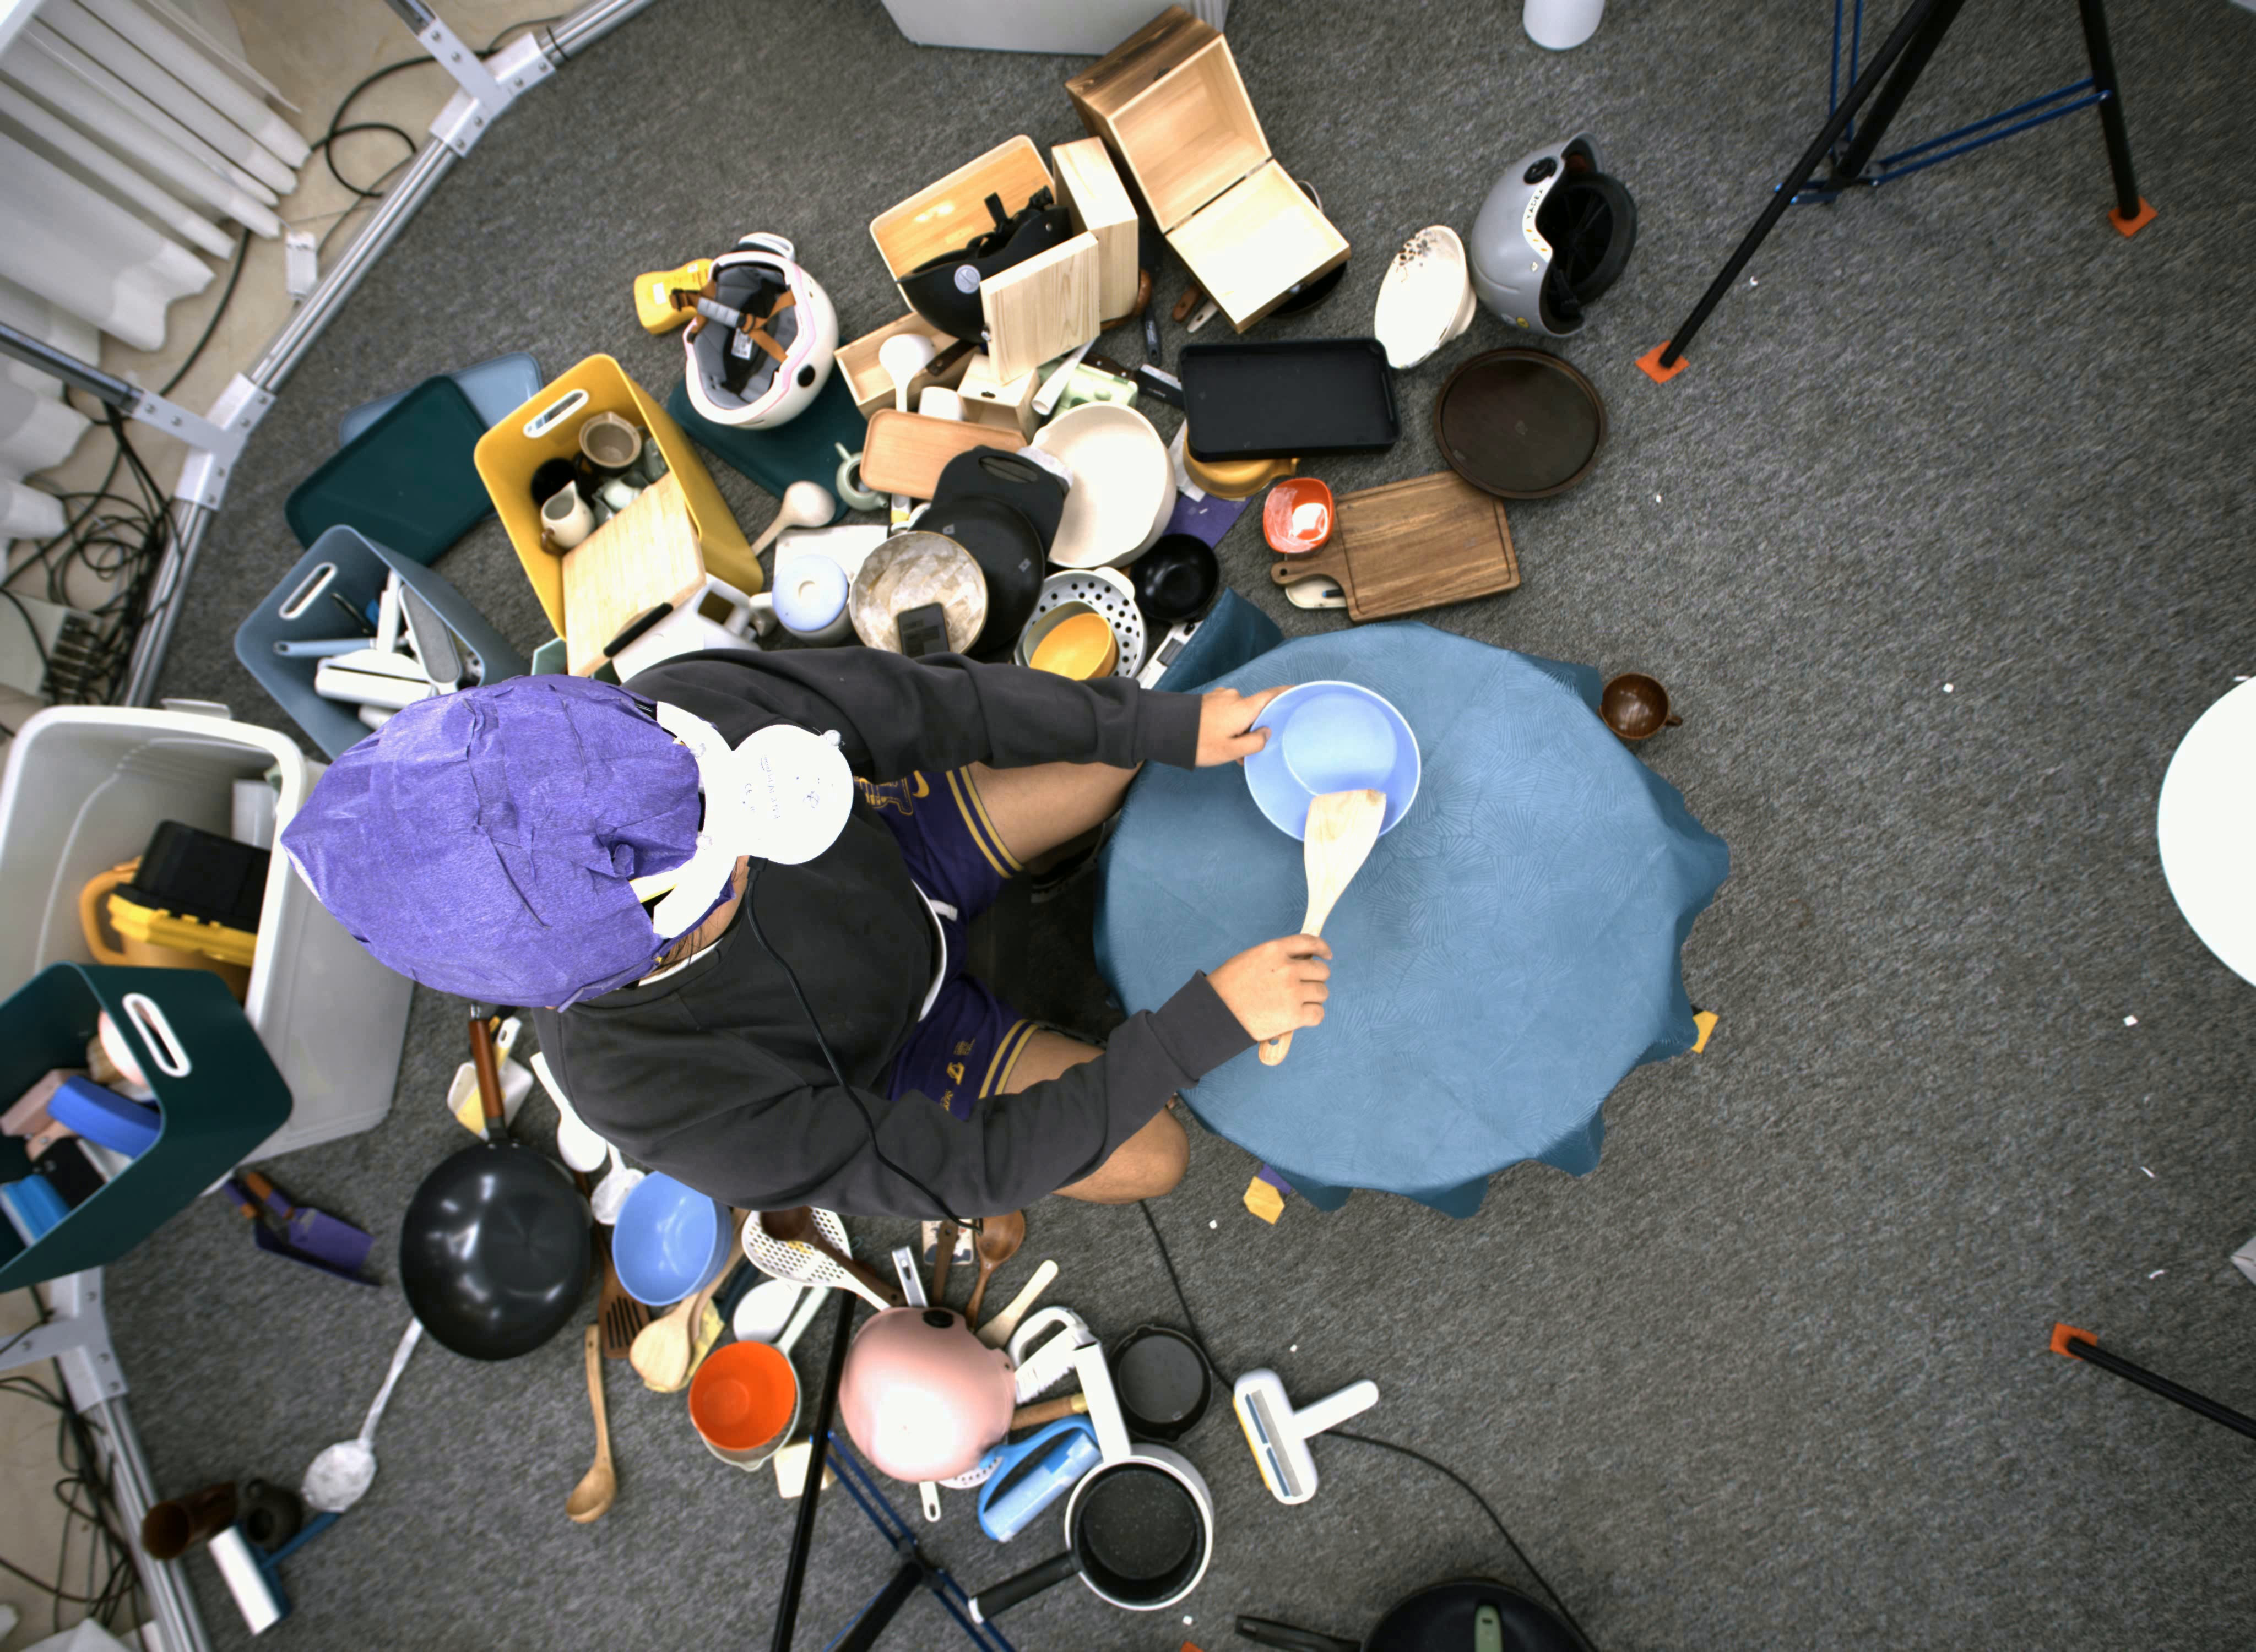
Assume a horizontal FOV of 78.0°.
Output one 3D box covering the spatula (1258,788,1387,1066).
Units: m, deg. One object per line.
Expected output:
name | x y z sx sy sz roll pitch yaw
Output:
spatula | 0.175 0.085 1.307 0.080 0.017 0.319 4 51 27

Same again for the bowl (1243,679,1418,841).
bowl | 0.209 -0.074 1.401 0.176 0.069 0.179 7 116 14
